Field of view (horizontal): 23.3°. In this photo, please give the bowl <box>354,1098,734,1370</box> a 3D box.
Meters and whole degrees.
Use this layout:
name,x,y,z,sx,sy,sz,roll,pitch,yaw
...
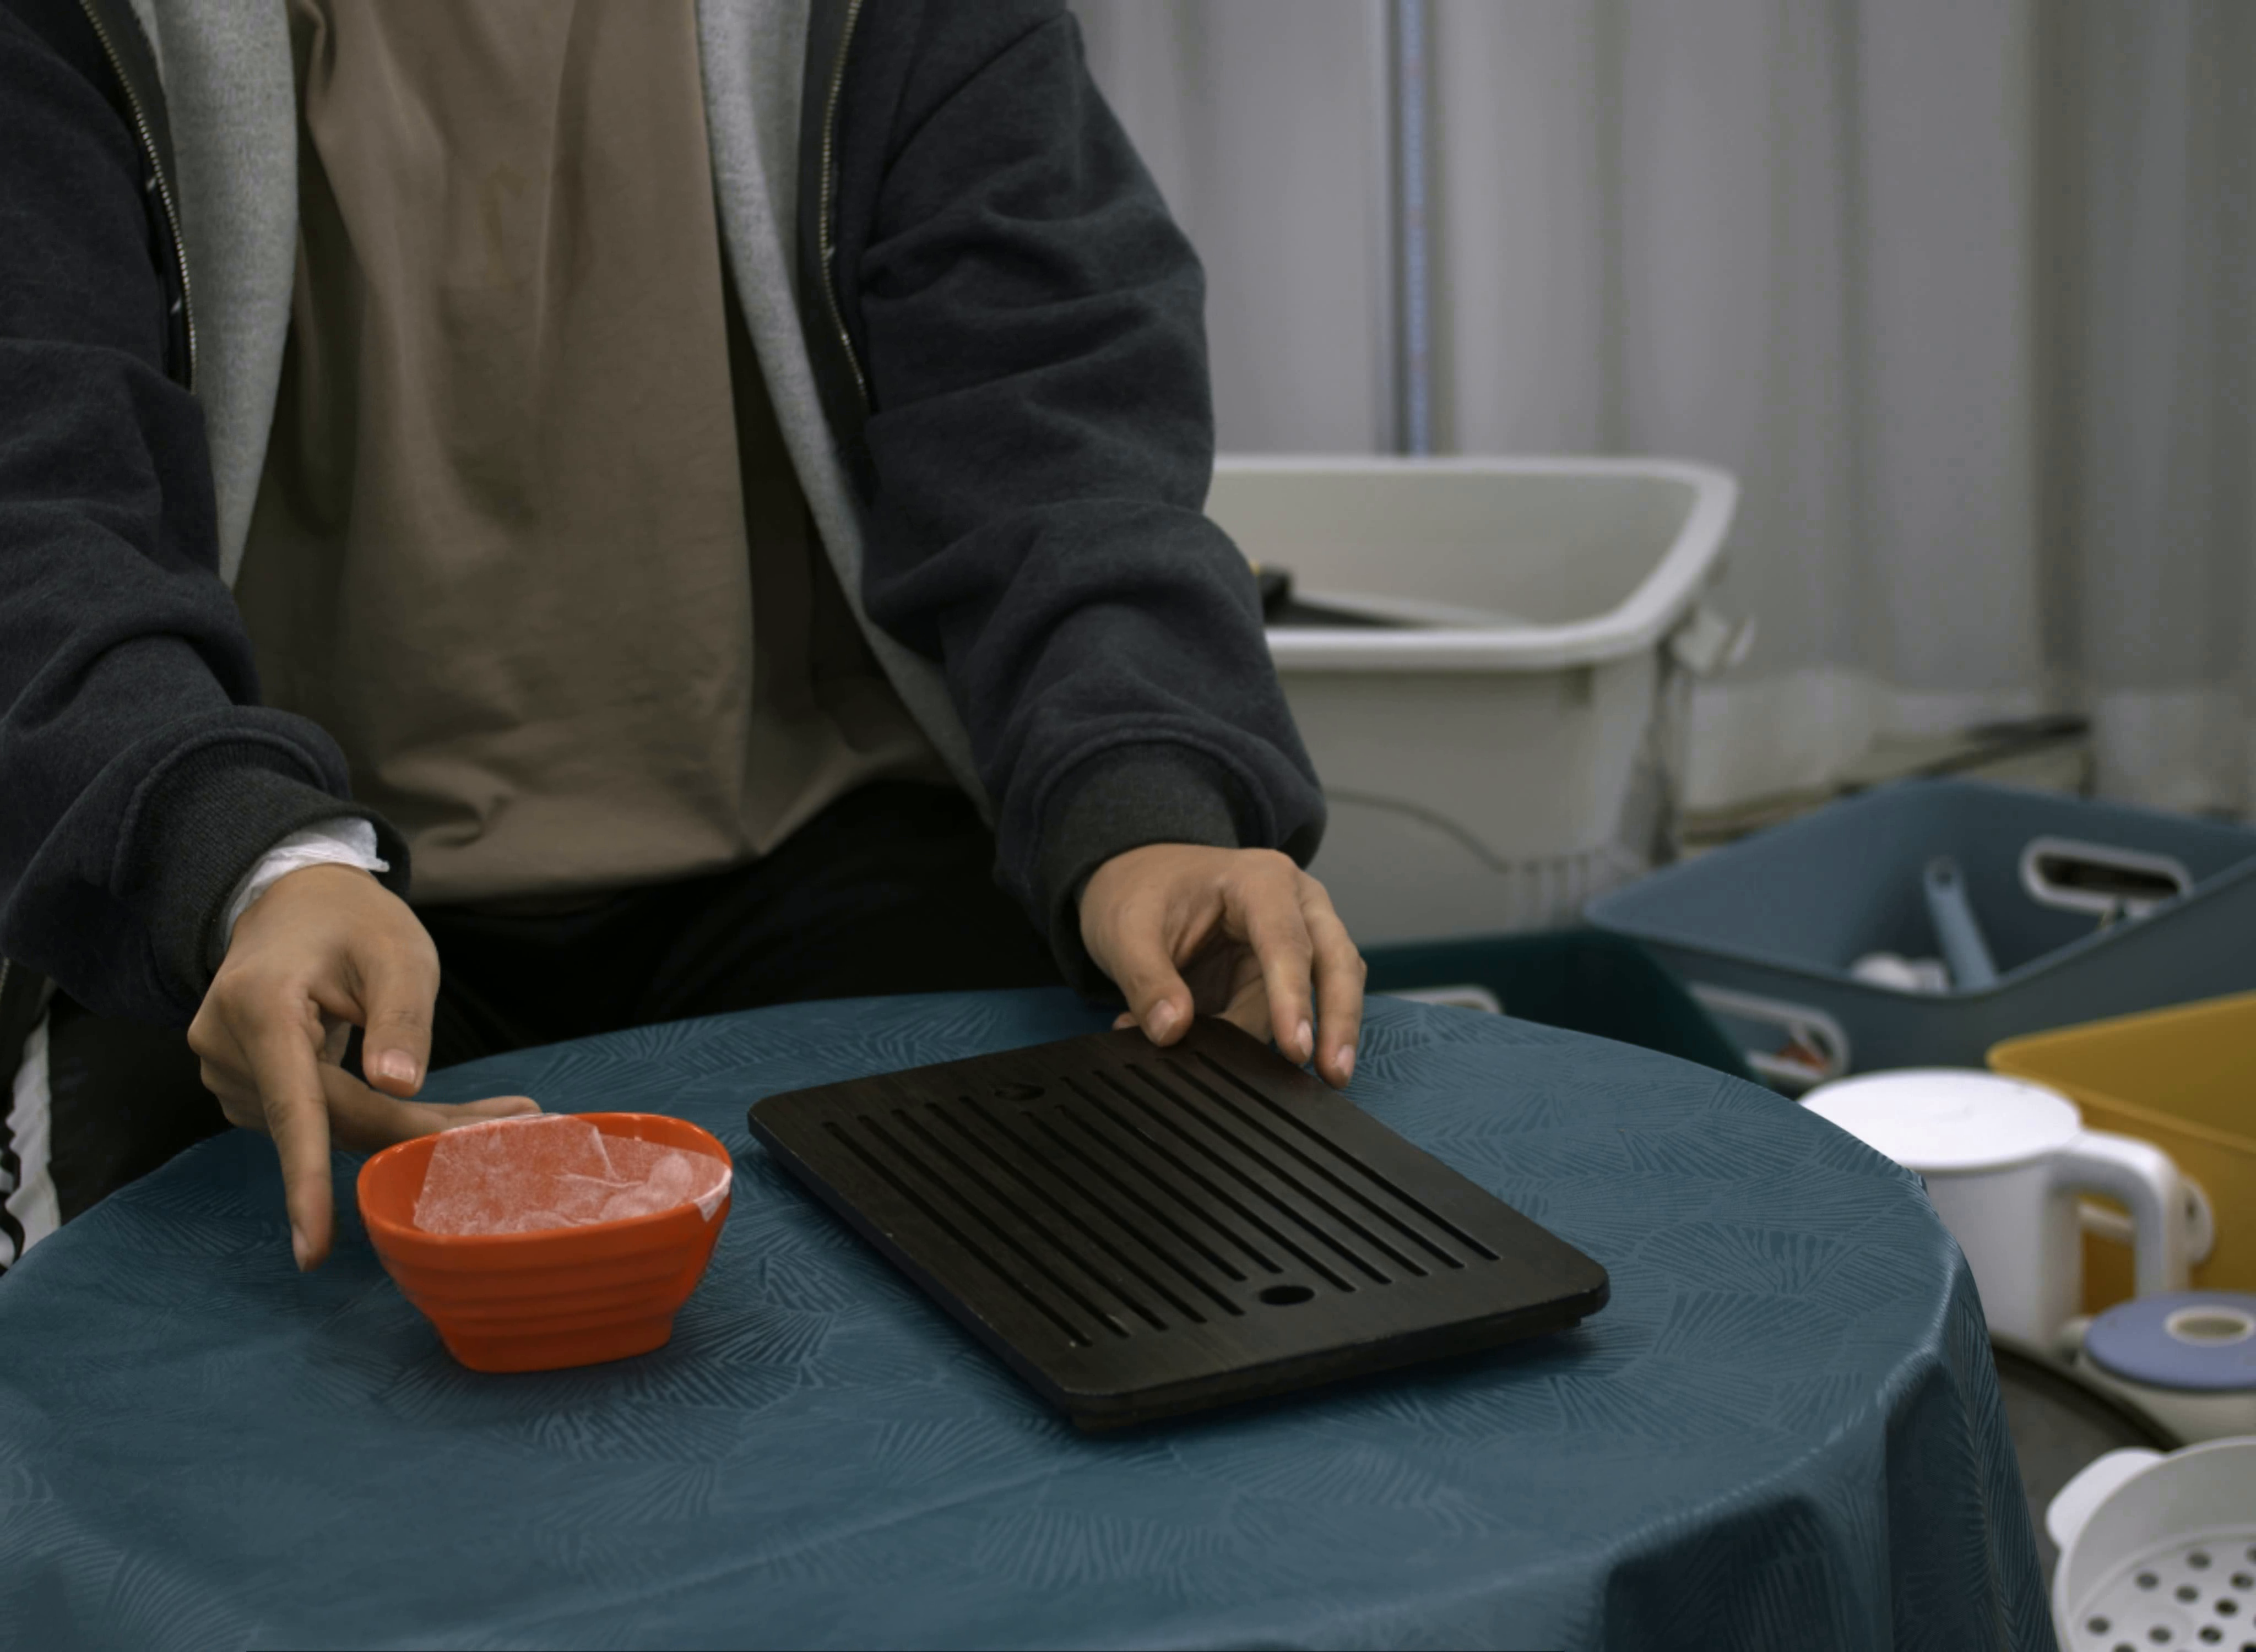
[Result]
name,x,y,z,sx,sy,sz,roll,pitch,yaw
bowl,-0.170,0.123,1.612,0.118,0.051,0.120,-3,17,1

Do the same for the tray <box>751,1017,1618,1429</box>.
name,x,y,z,sx,sy,sz,roll,pitch,yaw
tray,0.010,0.117,1.664,0.169,0.018,0.308,-10,16,-20
